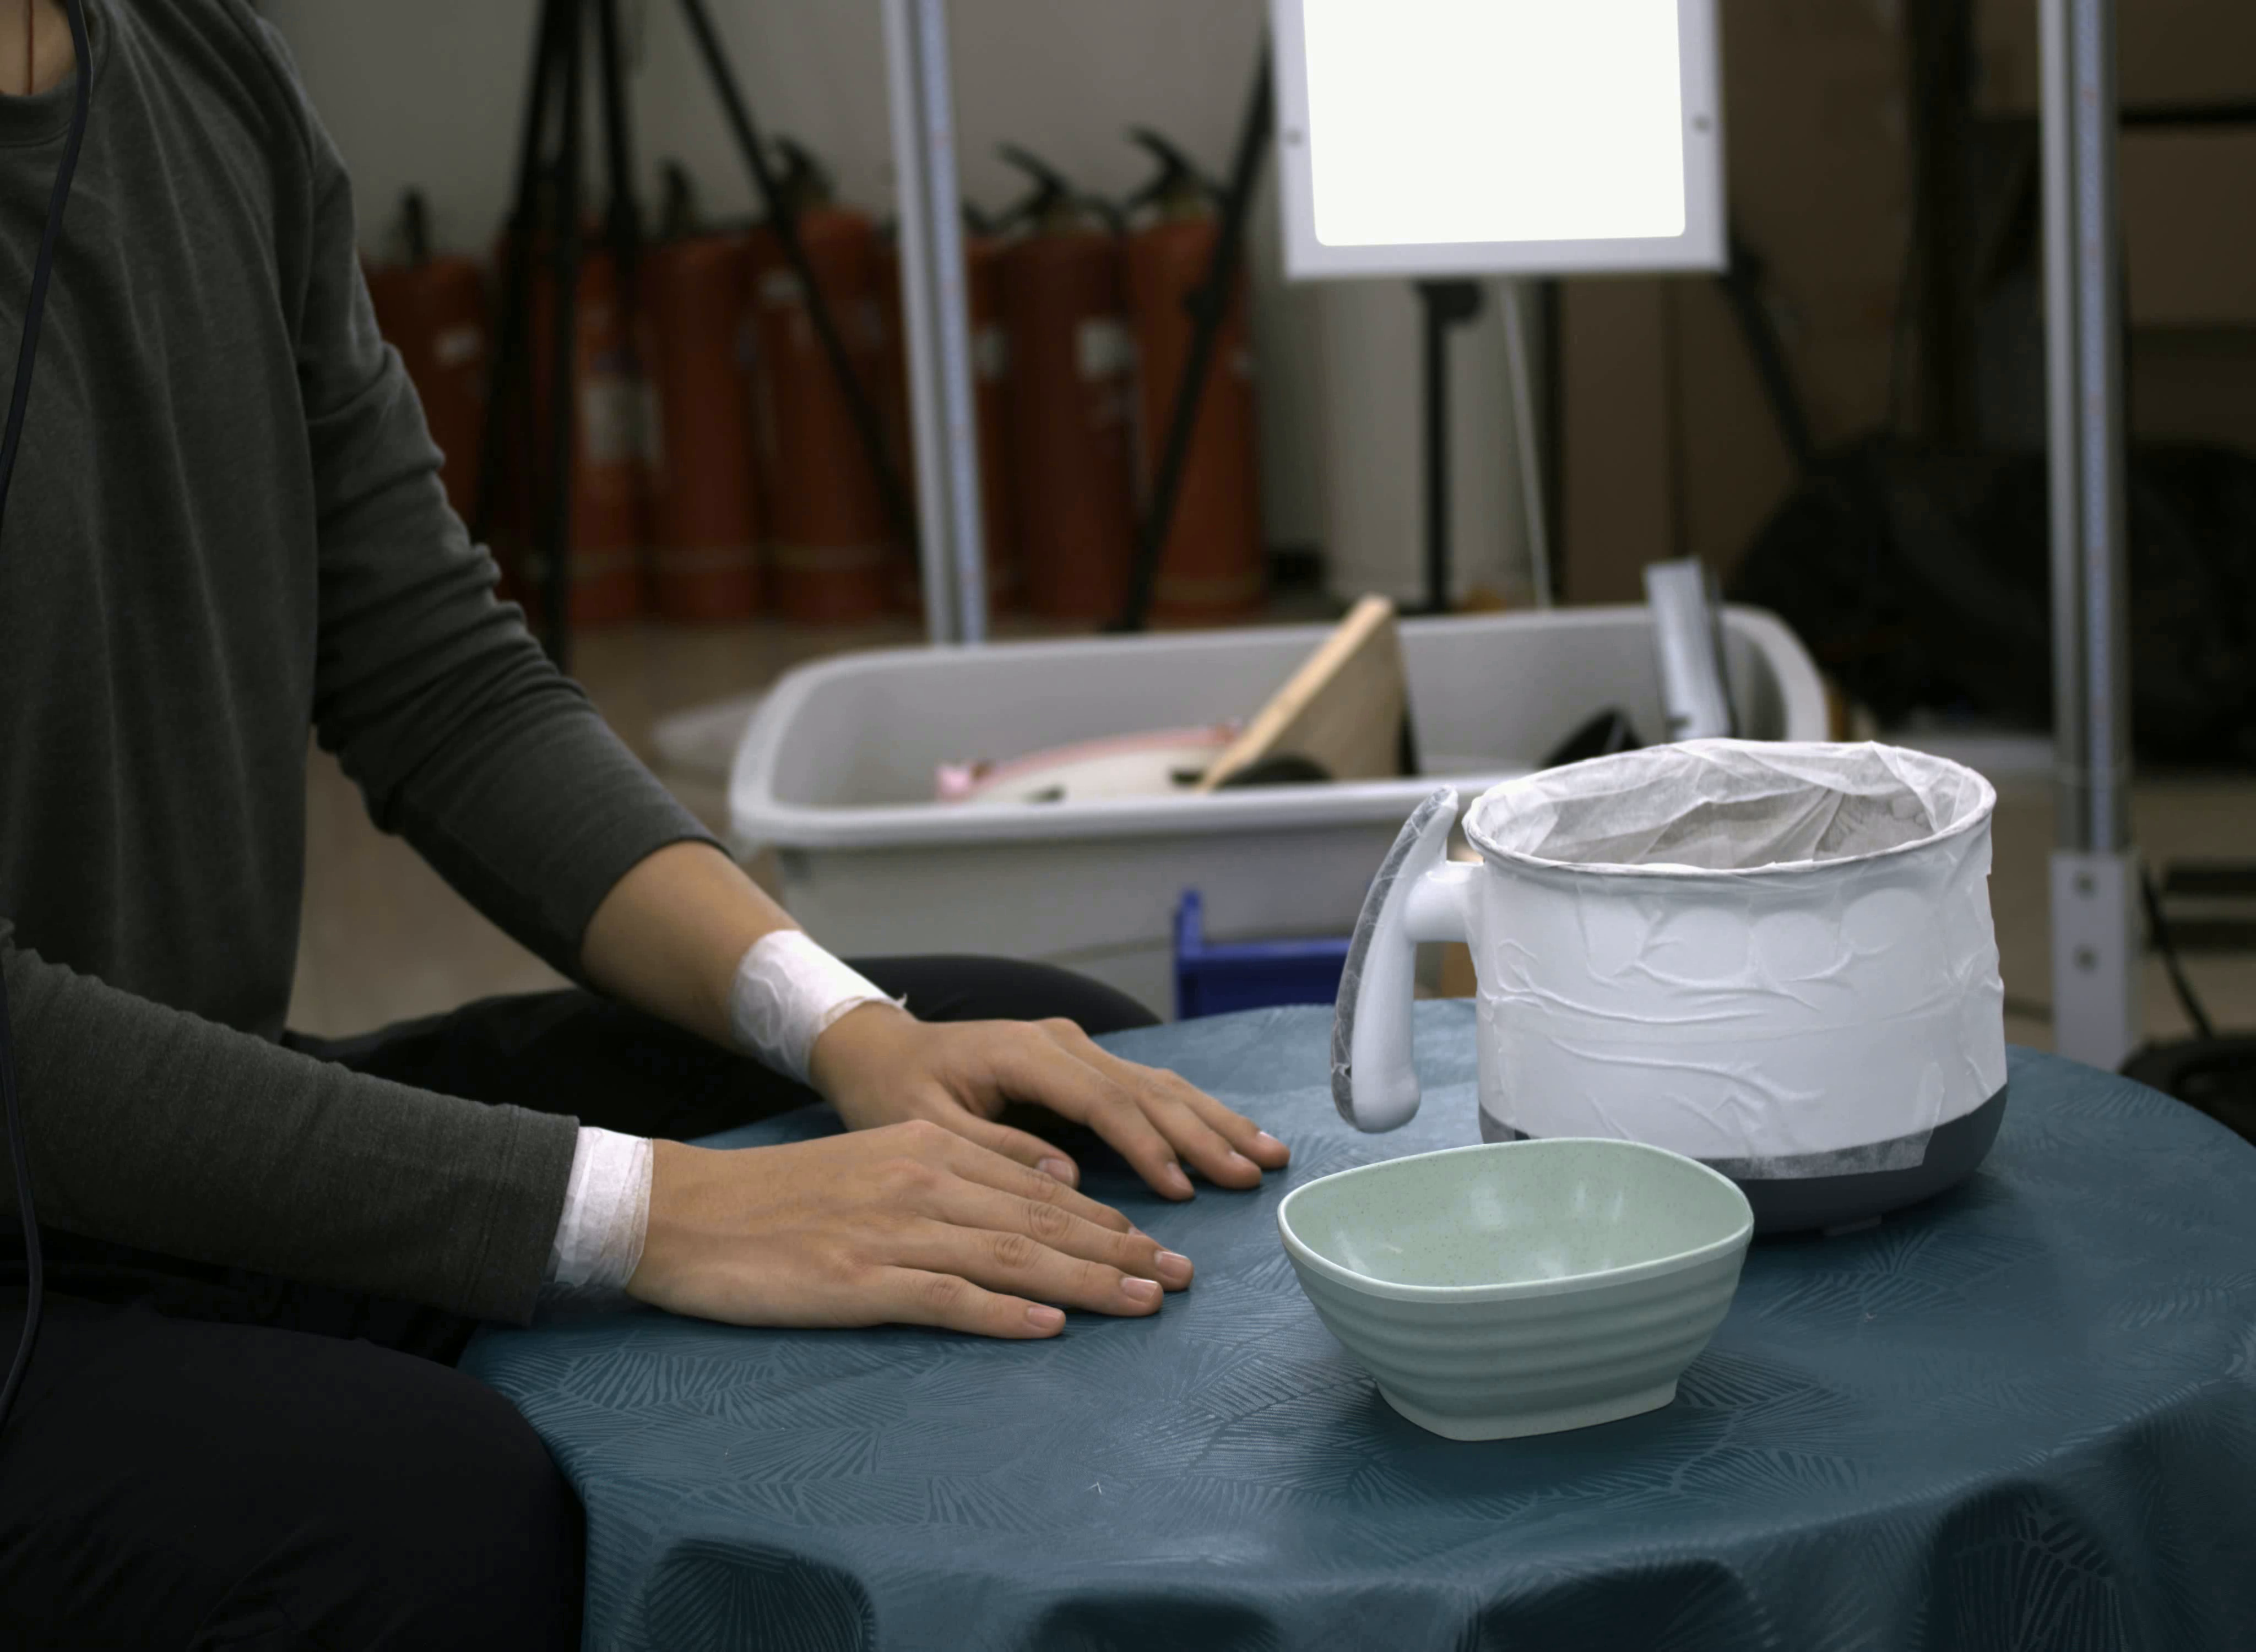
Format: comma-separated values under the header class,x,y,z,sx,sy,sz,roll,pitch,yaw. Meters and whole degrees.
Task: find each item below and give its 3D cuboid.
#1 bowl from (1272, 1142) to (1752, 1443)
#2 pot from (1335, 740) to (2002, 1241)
class,x,y,z,sx,sy,sz,roll,pitch,yaw
bowl,0.117,0.144,1.668,0.151,0.059,0.151,-3,14,-1
pot,0.179,0.055,1.849,0.237,0.137,0.175,0,15,23
